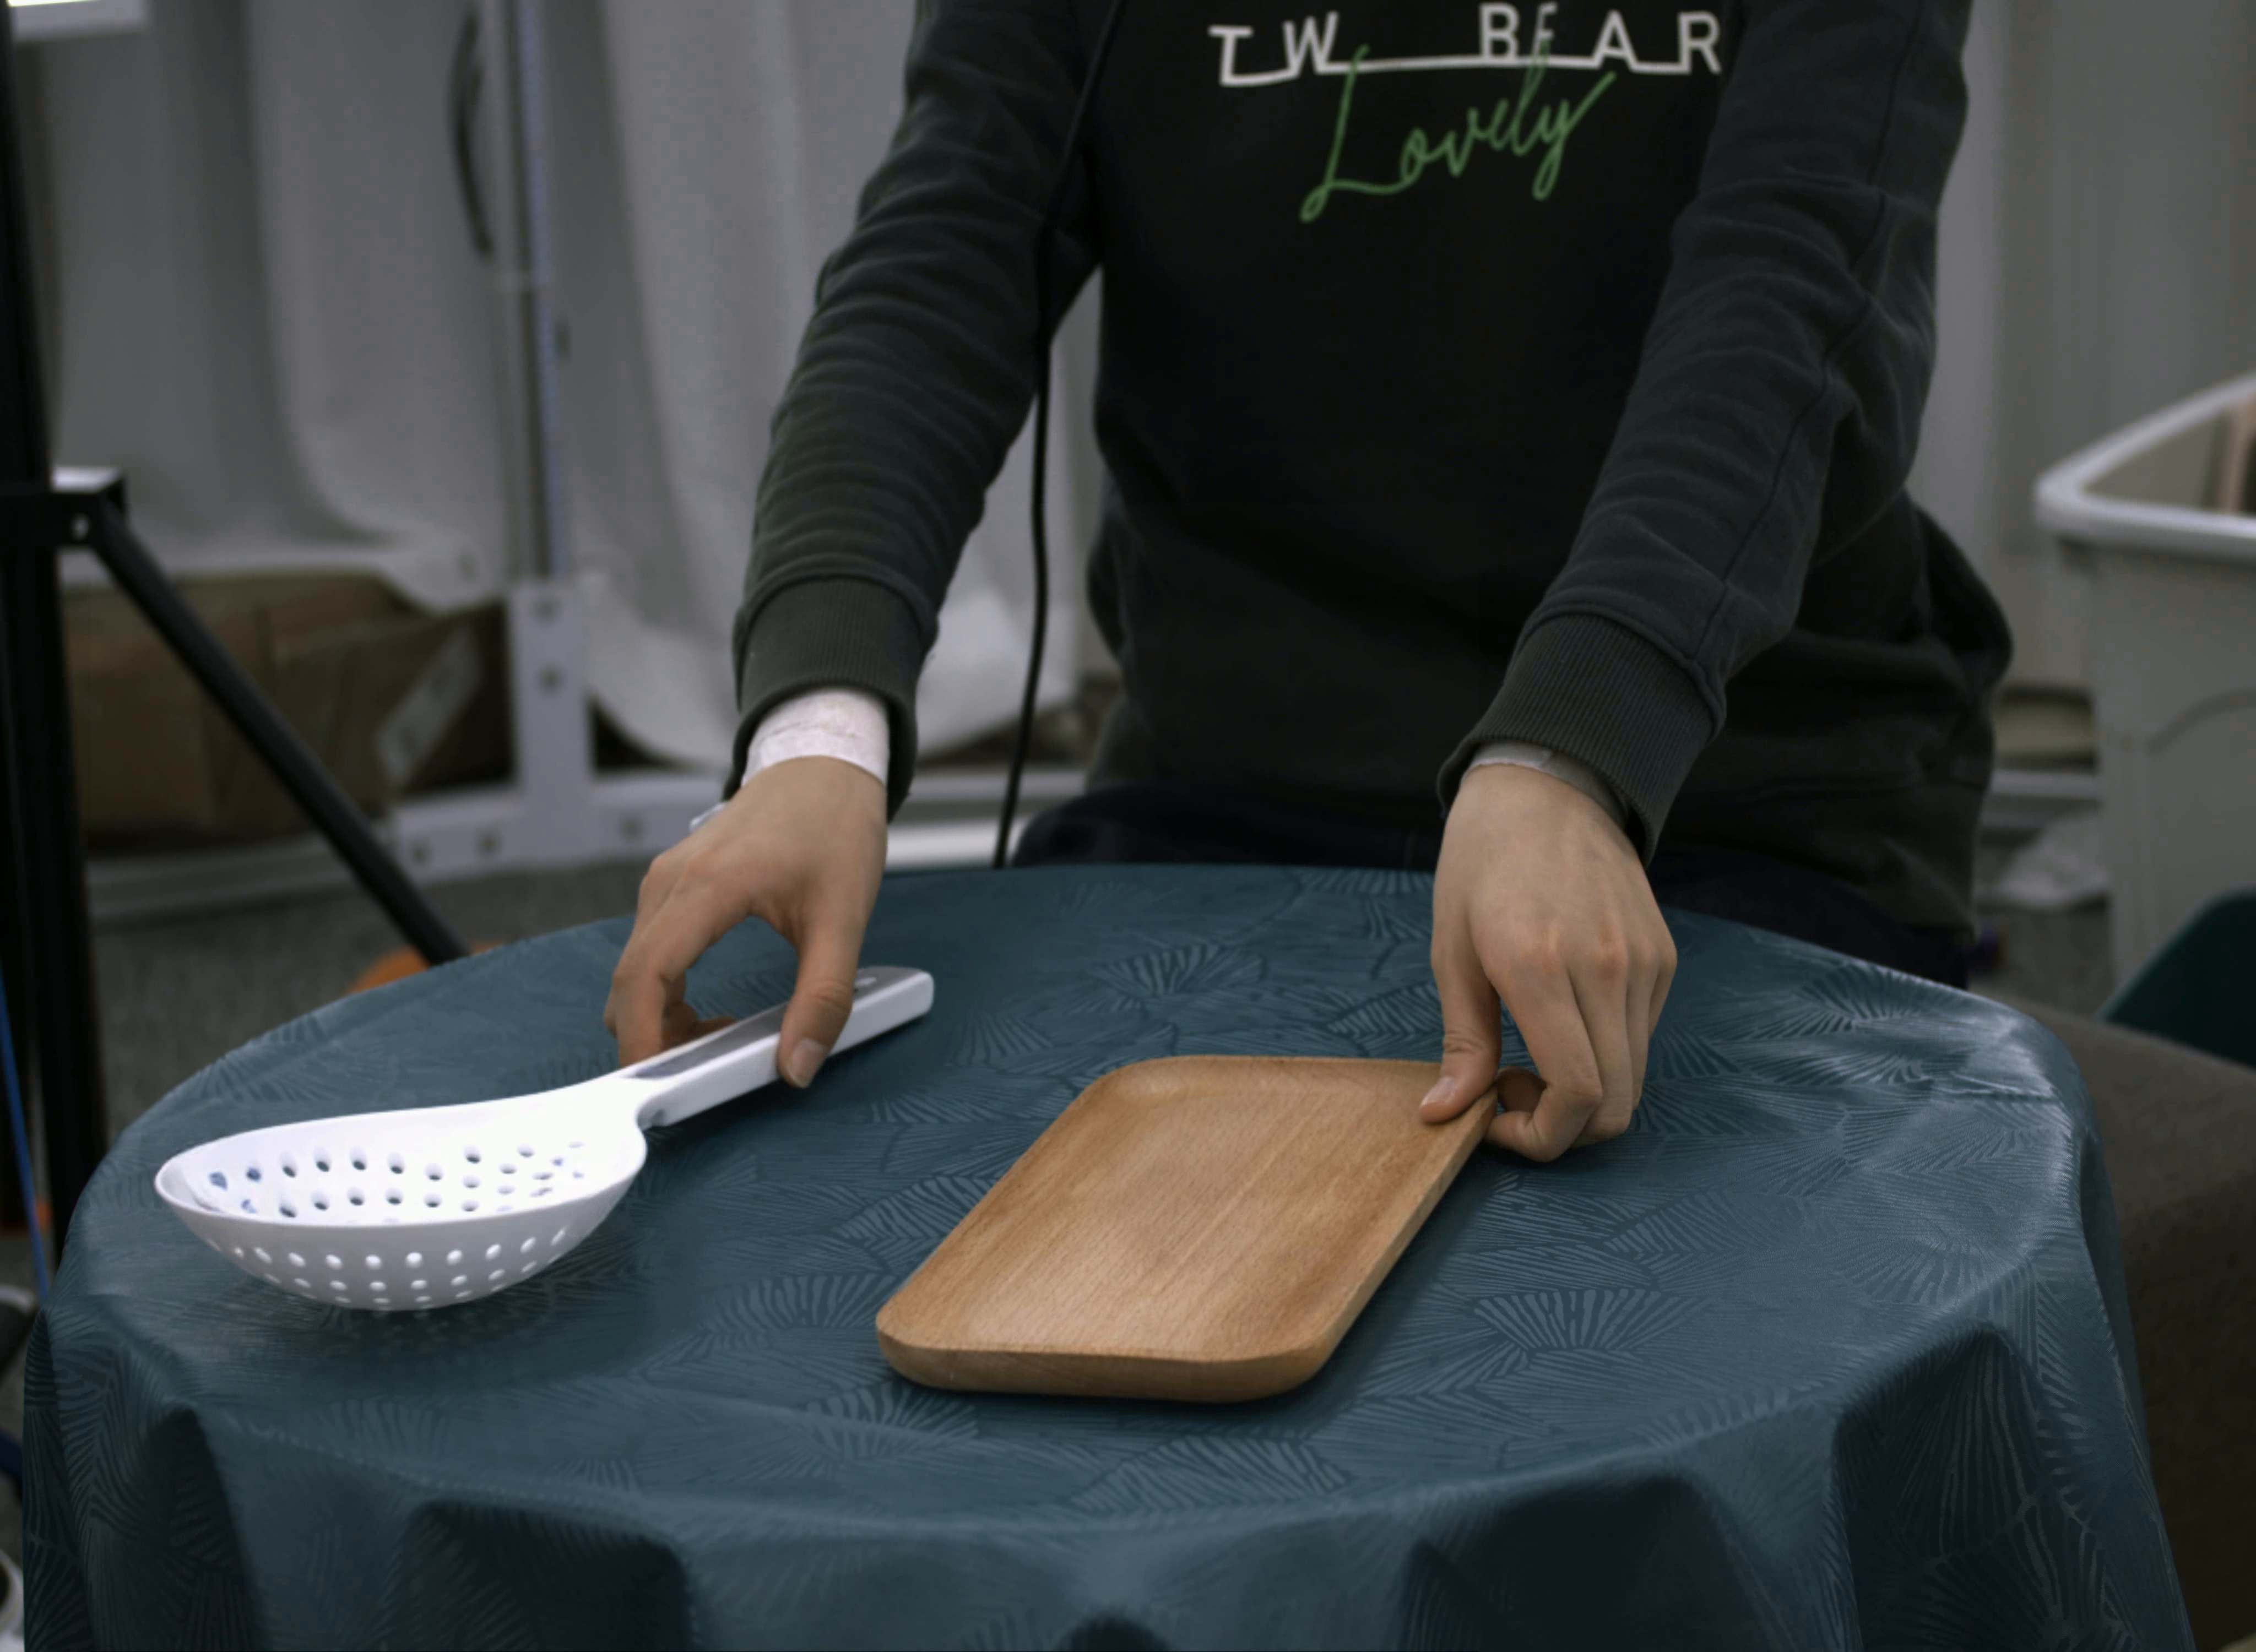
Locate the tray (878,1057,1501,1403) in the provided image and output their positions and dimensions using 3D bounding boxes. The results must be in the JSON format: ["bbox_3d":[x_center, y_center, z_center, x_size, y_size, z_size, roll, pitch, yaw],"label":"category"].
[{"bbox_3d":[0.022,0.112,1.506,0.132,0.023,0.248,3,16,18],"label":"tray"}]

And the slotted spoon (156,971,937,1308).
[{"bbox_3d":[-0.153,0.084,1.586,0.138,0.046,0.344,5,17,28],"label":"slotted spoon"}]
